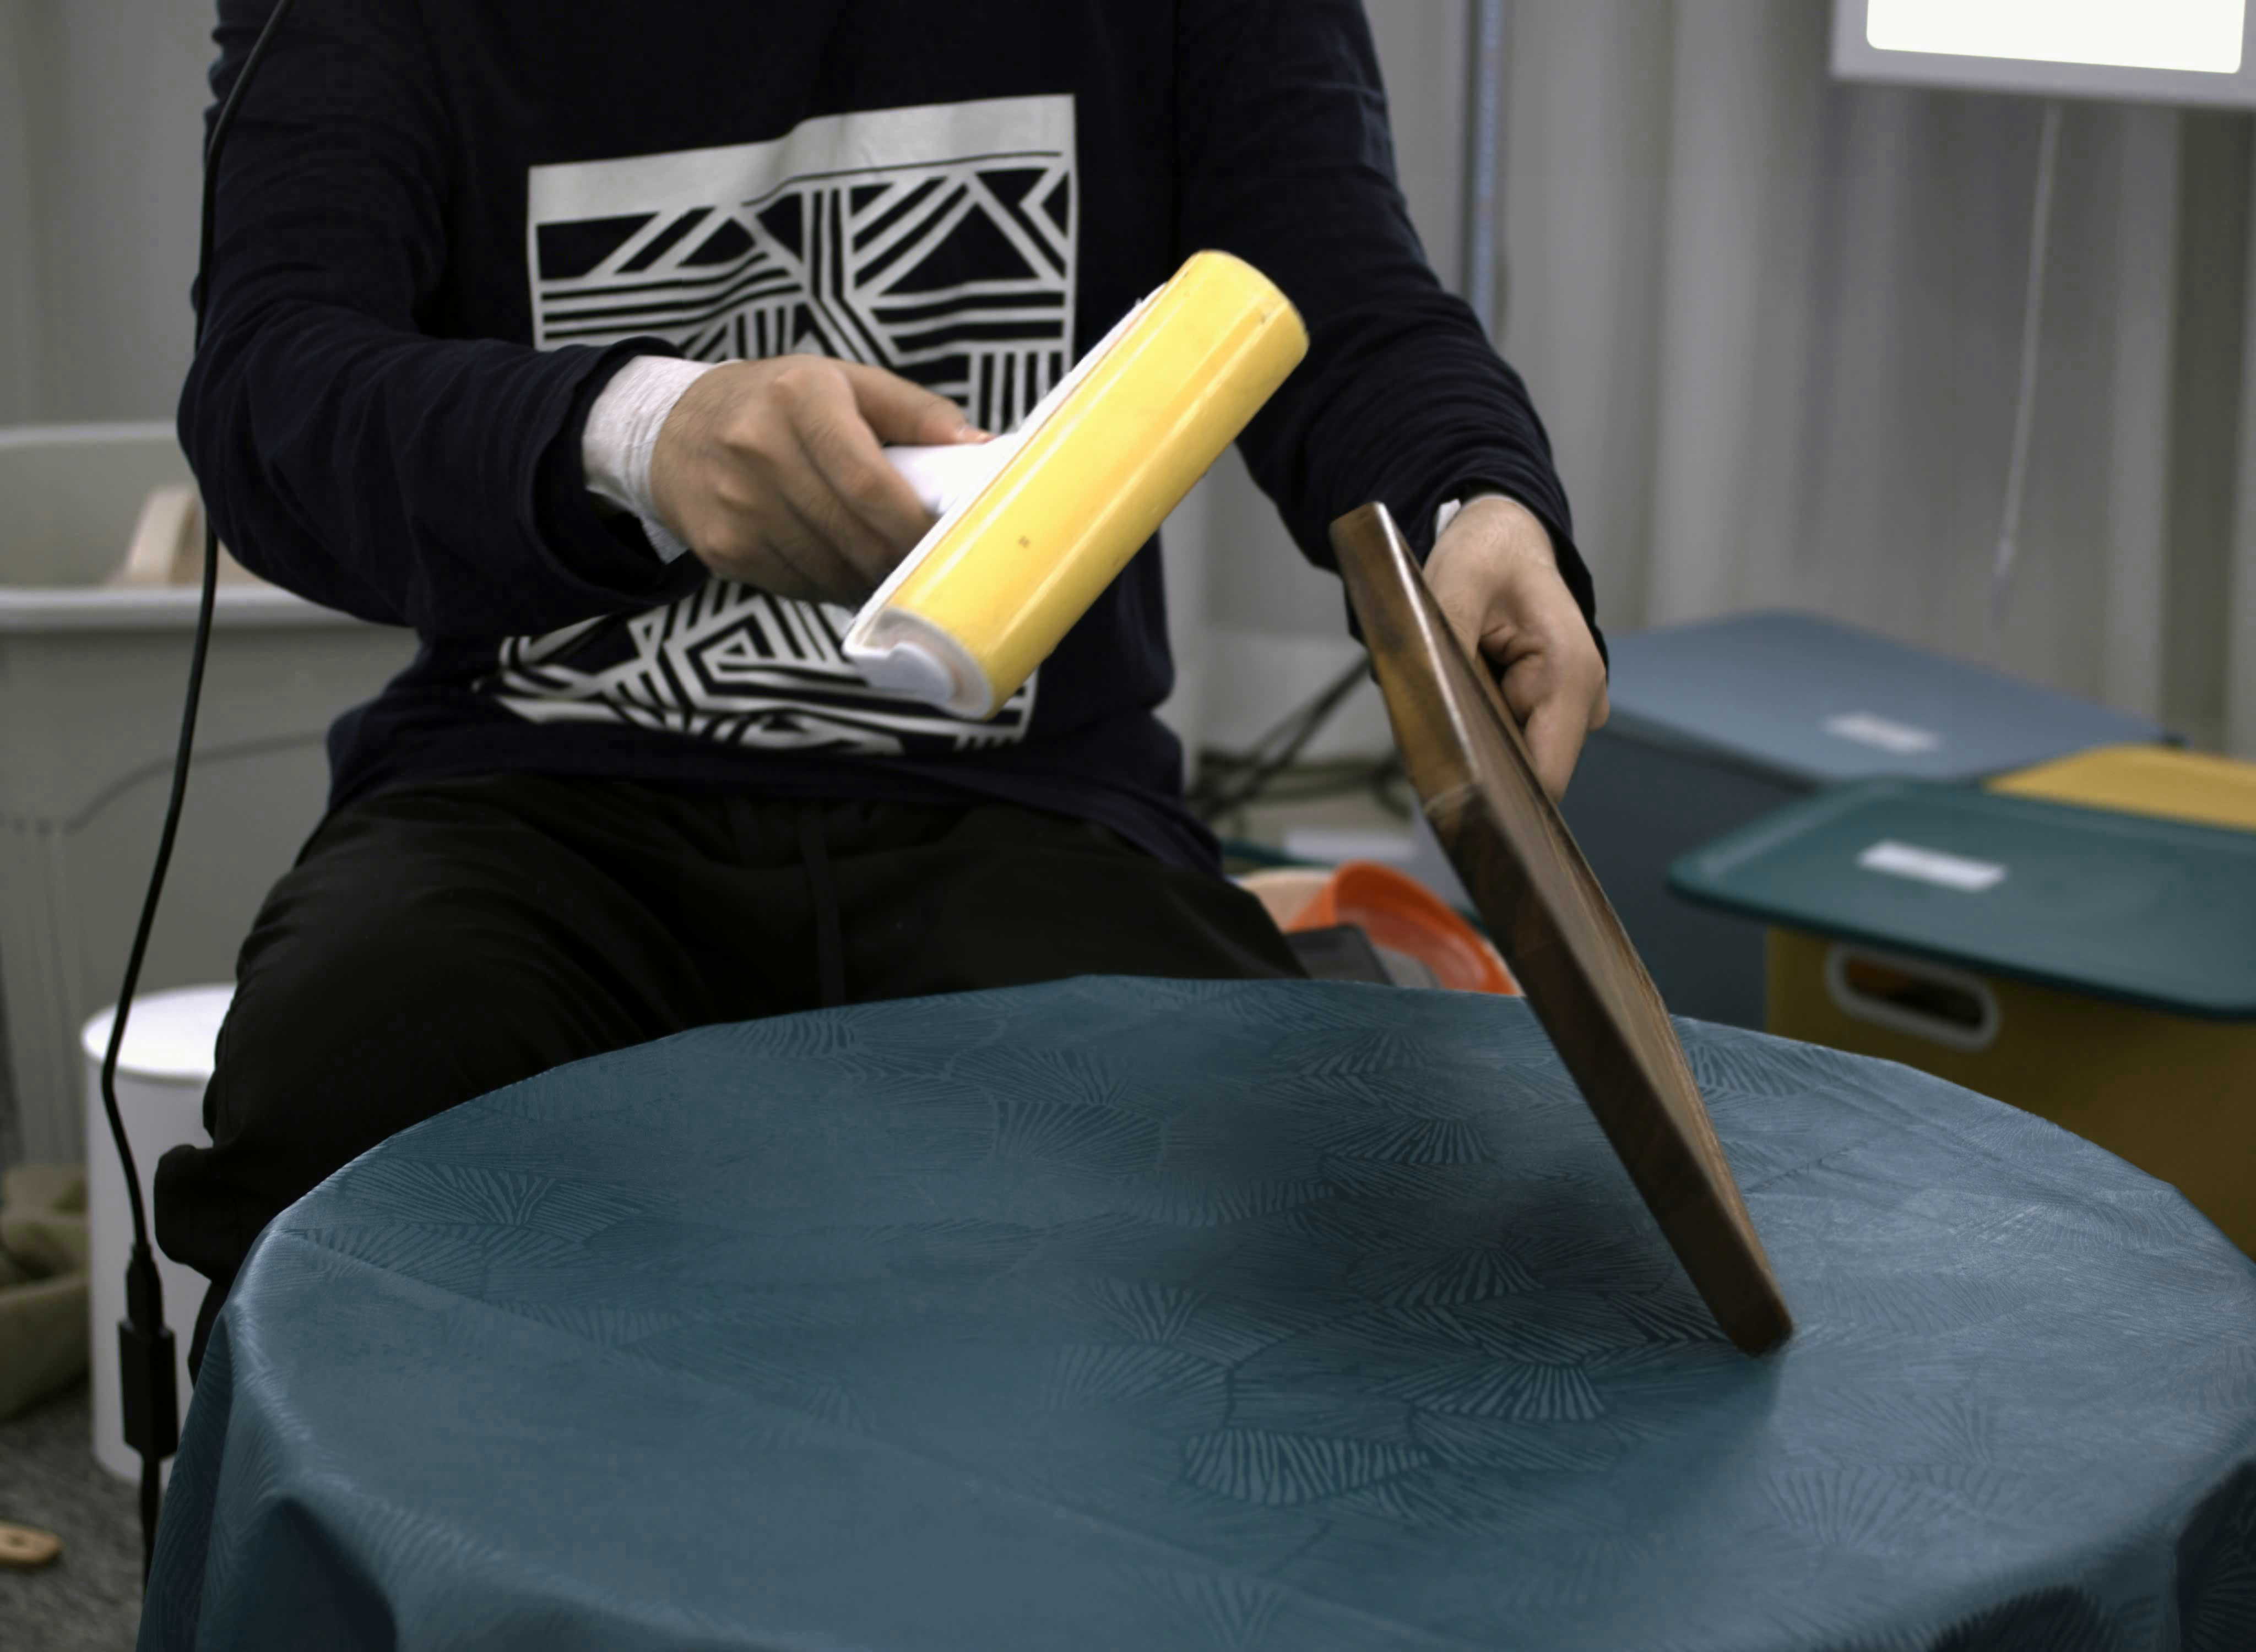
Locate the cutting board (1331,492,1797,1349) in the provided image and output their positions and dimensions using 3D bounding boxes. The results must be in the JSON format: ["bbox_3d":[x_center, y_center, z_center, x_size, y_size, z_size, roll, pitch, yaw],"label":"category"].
[{"bbox_3d":[0.123,0.004,1.612,0.023,0.203,0.349,-28,22,6],"label":"cutting board"}]

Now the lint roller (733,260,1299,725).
[{"bbox_3d":[-0.063,-0.111,1.630,0.189,0.052,0.174,13,54,42],"label":"lint roller"}]
